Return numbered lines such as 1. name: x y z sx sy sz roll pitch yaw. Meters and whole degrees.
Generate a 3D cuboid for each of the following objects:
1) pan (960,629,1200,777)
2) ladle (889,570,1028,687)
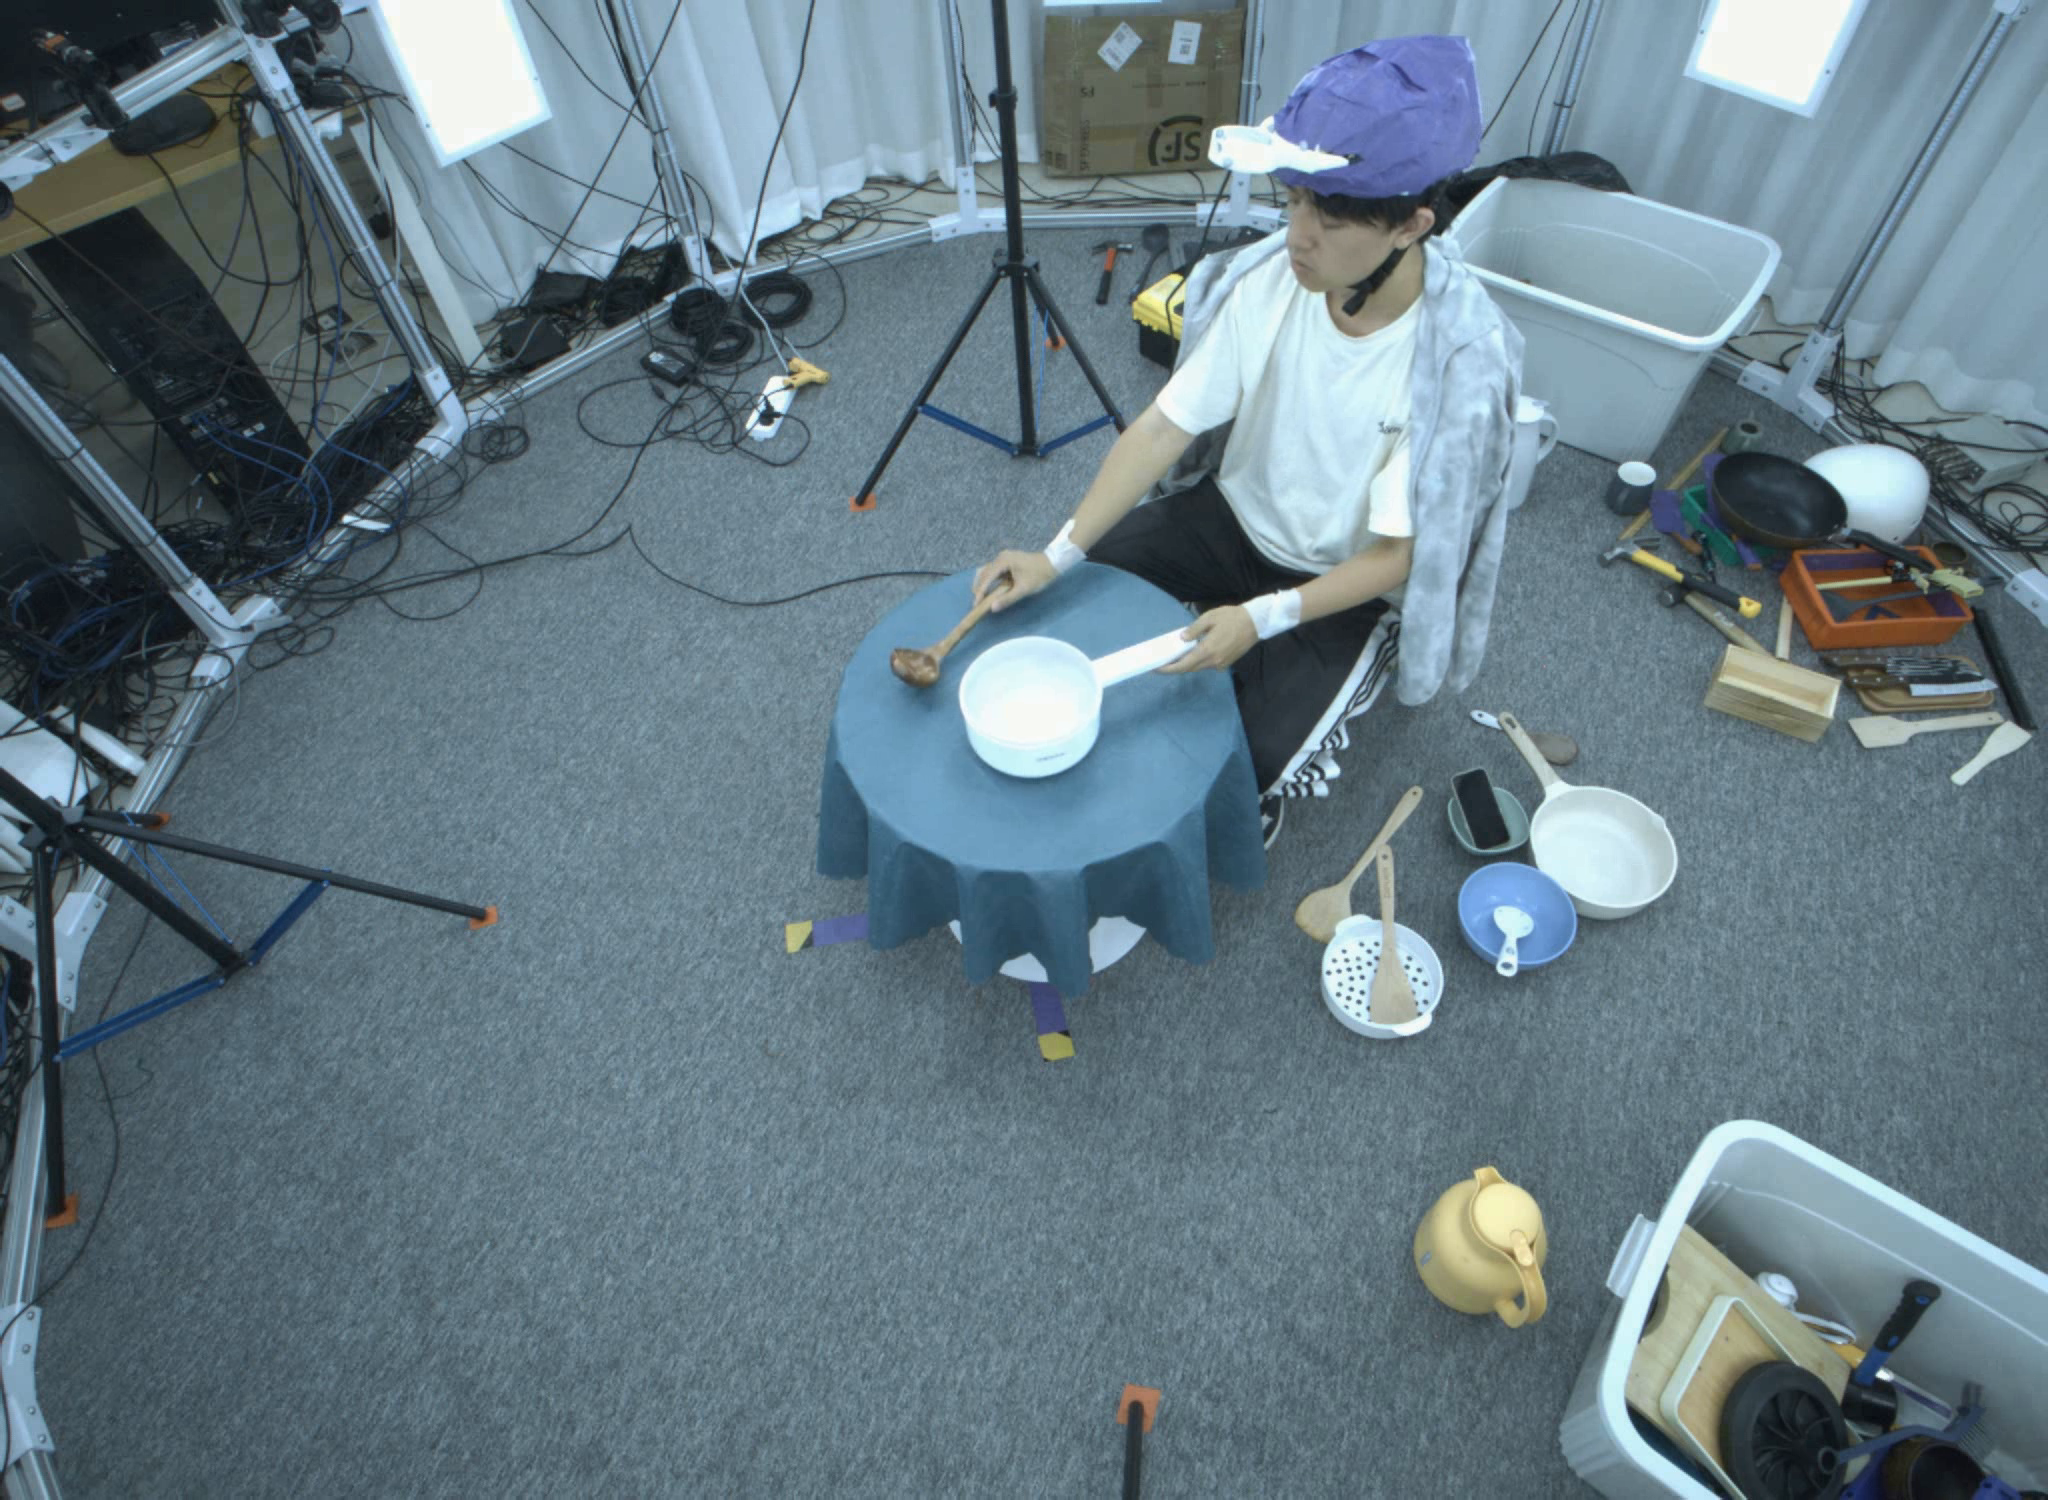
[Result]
1. pan: 0.084 -0.082 1.784 0.357 0.103 0.197 -19 56 -12
2. ladle: -0.095 -0.197 1.858 0.081 0.076 0.275 44 73 6
